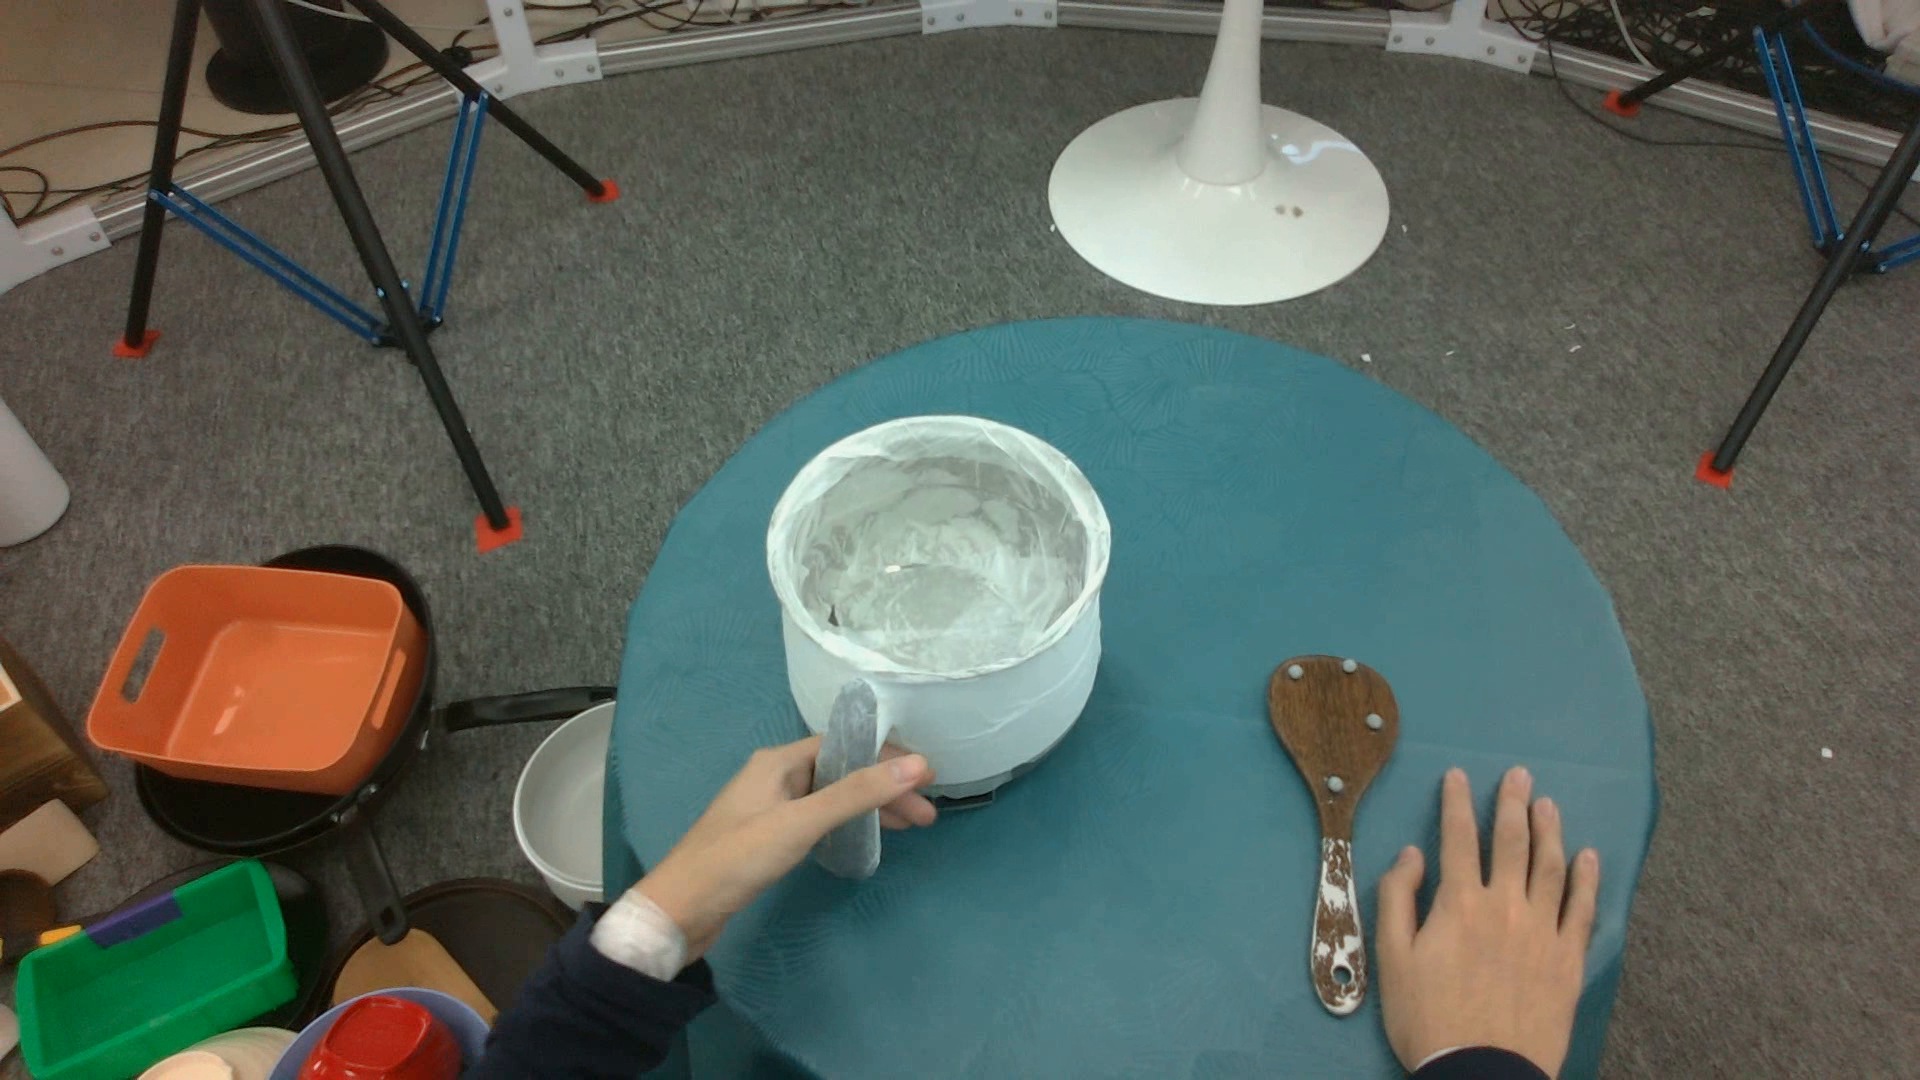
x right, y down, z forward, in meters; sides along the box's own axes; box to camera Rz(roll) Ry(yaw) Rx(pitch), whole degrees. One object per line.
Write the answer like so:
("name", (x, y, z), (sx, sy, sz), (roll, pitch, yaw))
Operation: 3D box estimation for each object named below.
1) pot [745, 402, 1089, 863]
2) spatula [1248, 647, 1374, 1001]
("pot", (-0.030, 0.051, 0.736), (0.178, 0.136, 0.235), (13, 50, 14))
("spatula", (0.190, 0.145, 0.748), (0.072, 0.009, 0.217), (6, 51, 6))
